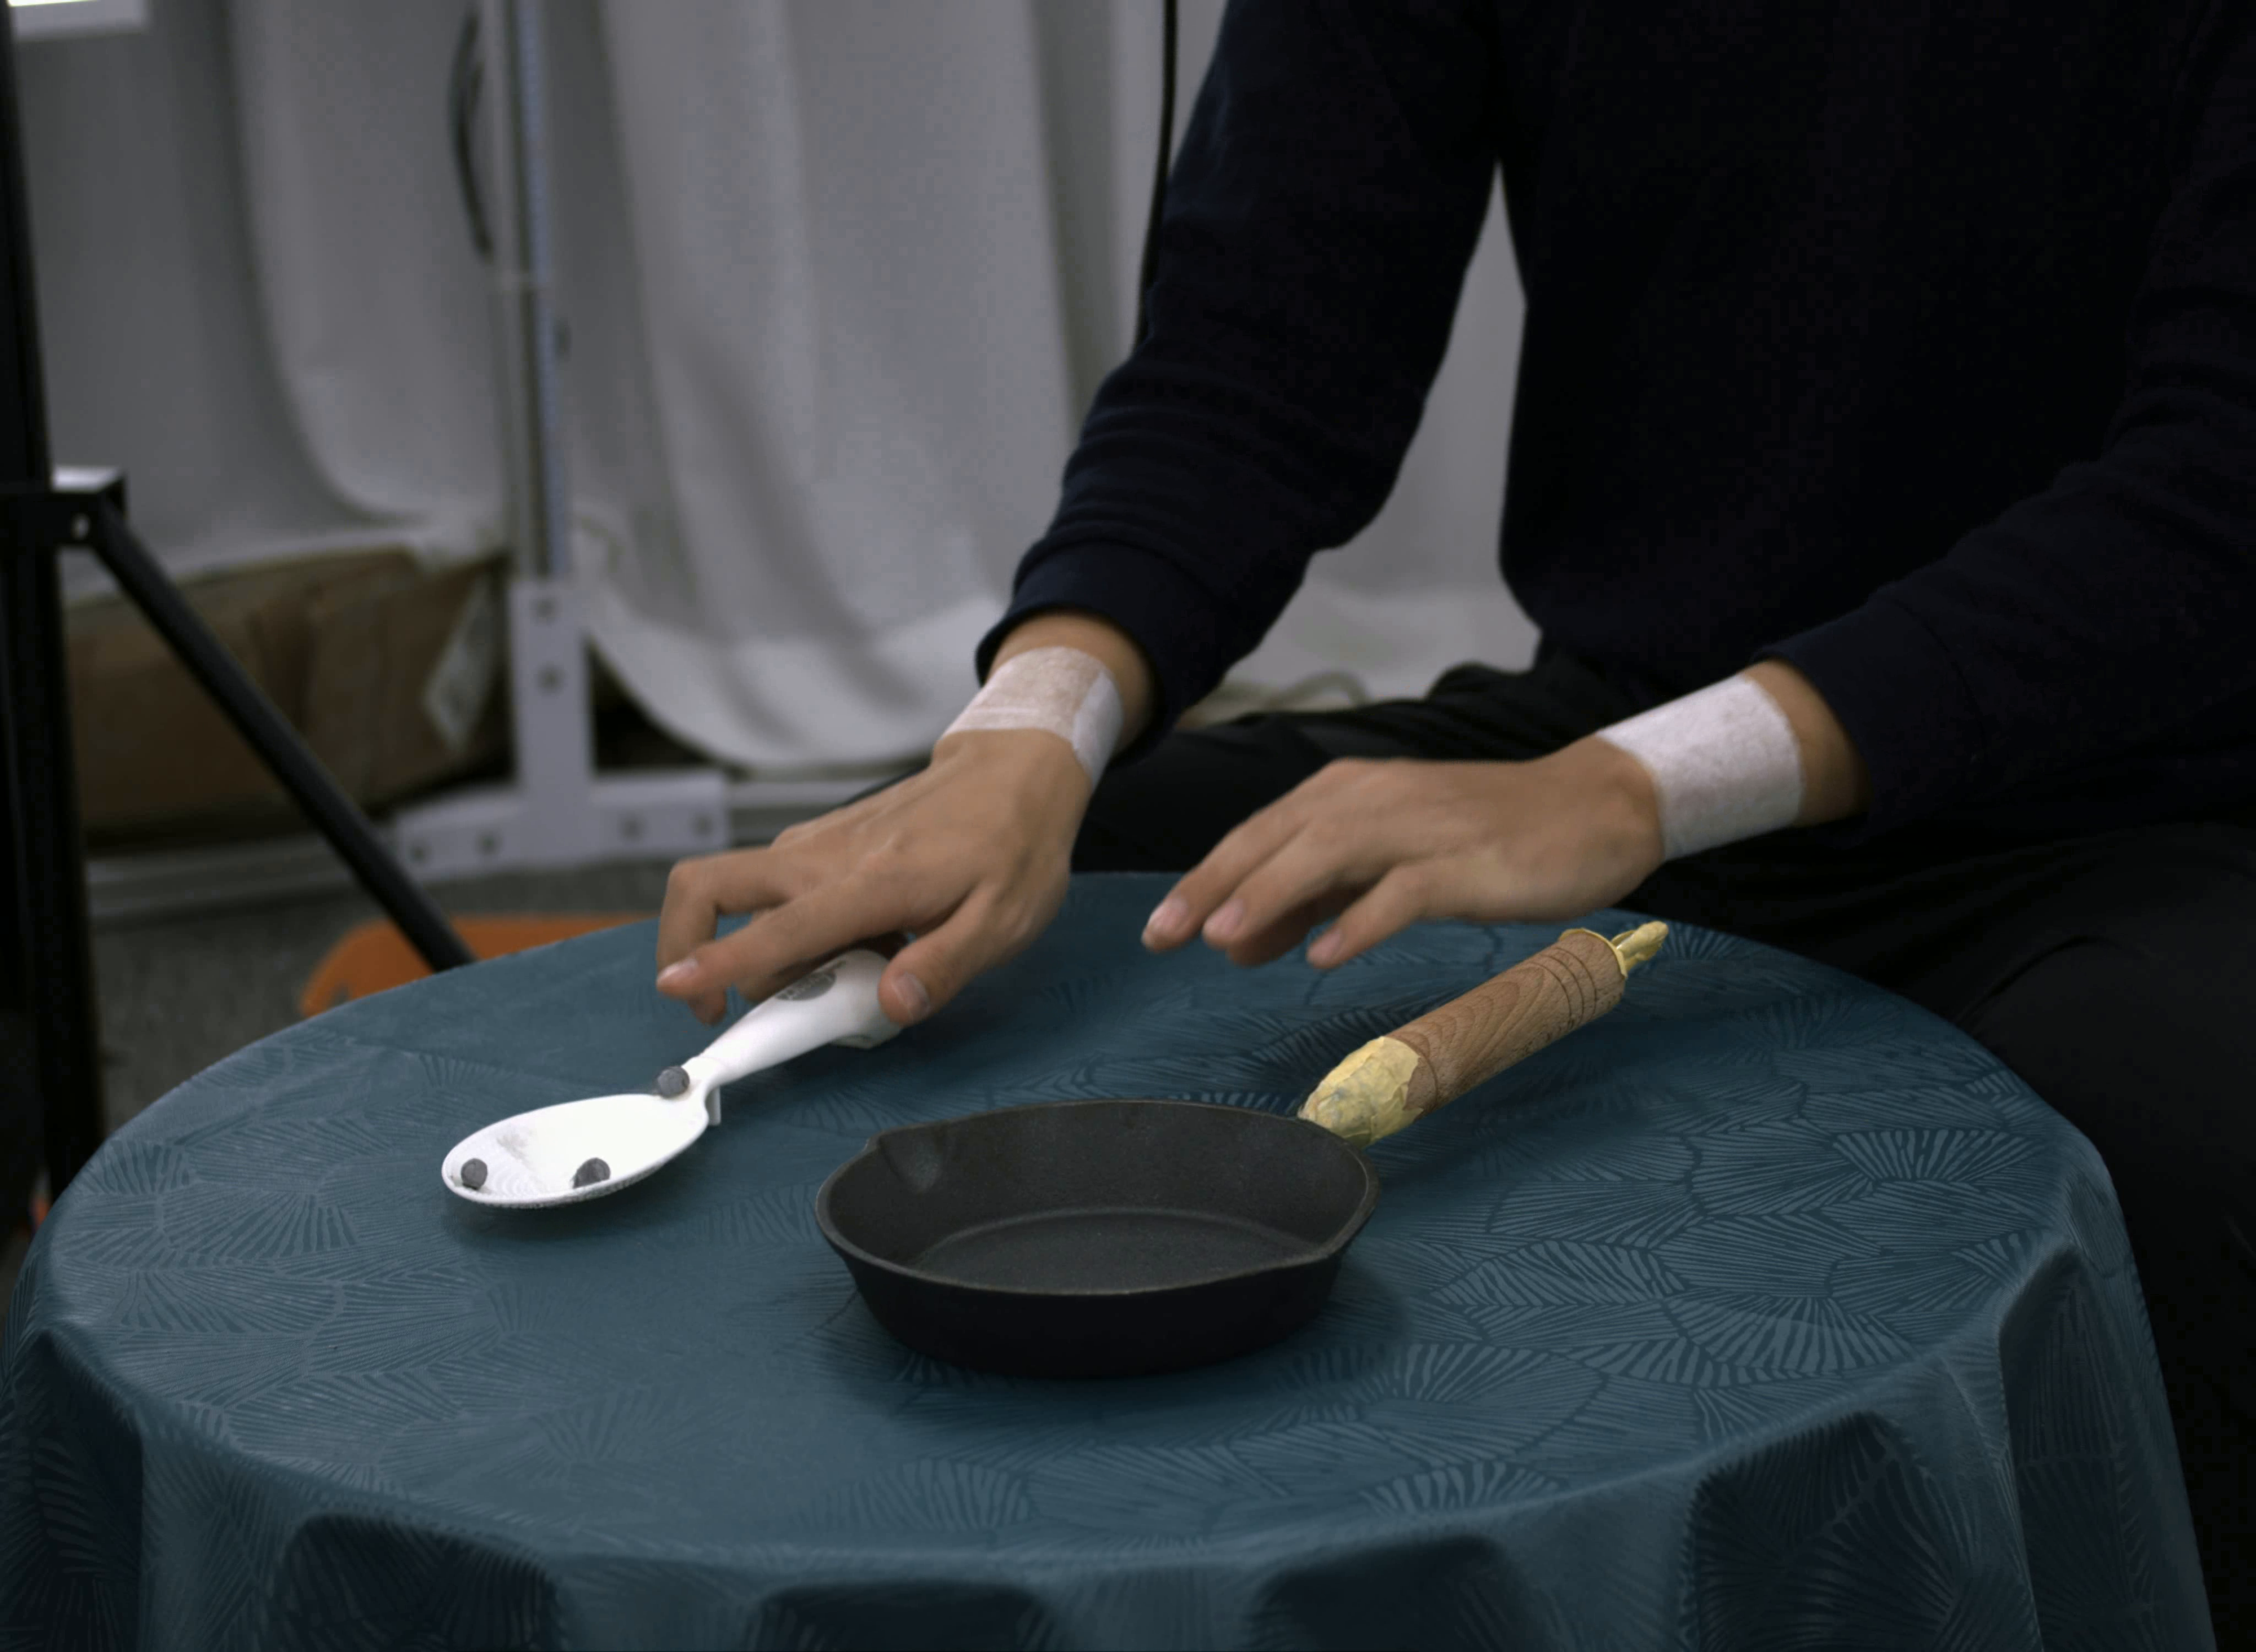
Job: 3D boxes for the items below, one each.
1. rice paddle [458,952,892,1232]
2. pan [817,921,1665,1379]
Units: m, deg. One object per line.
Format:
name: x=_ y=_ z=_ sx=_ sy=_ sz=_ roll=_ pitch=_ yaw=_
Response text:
rice paddle: x=-0.134 y=0.083 z=1.628 sx=0.070 sy=0.029 sz=0.202 roll=15 pitch=24 yaw=24
pan: x=0.051 y=0.089 z=1.524 sx=0.317 sy=0.049 sz=0.173 roll=-19 pitch=22 yaw=-41
